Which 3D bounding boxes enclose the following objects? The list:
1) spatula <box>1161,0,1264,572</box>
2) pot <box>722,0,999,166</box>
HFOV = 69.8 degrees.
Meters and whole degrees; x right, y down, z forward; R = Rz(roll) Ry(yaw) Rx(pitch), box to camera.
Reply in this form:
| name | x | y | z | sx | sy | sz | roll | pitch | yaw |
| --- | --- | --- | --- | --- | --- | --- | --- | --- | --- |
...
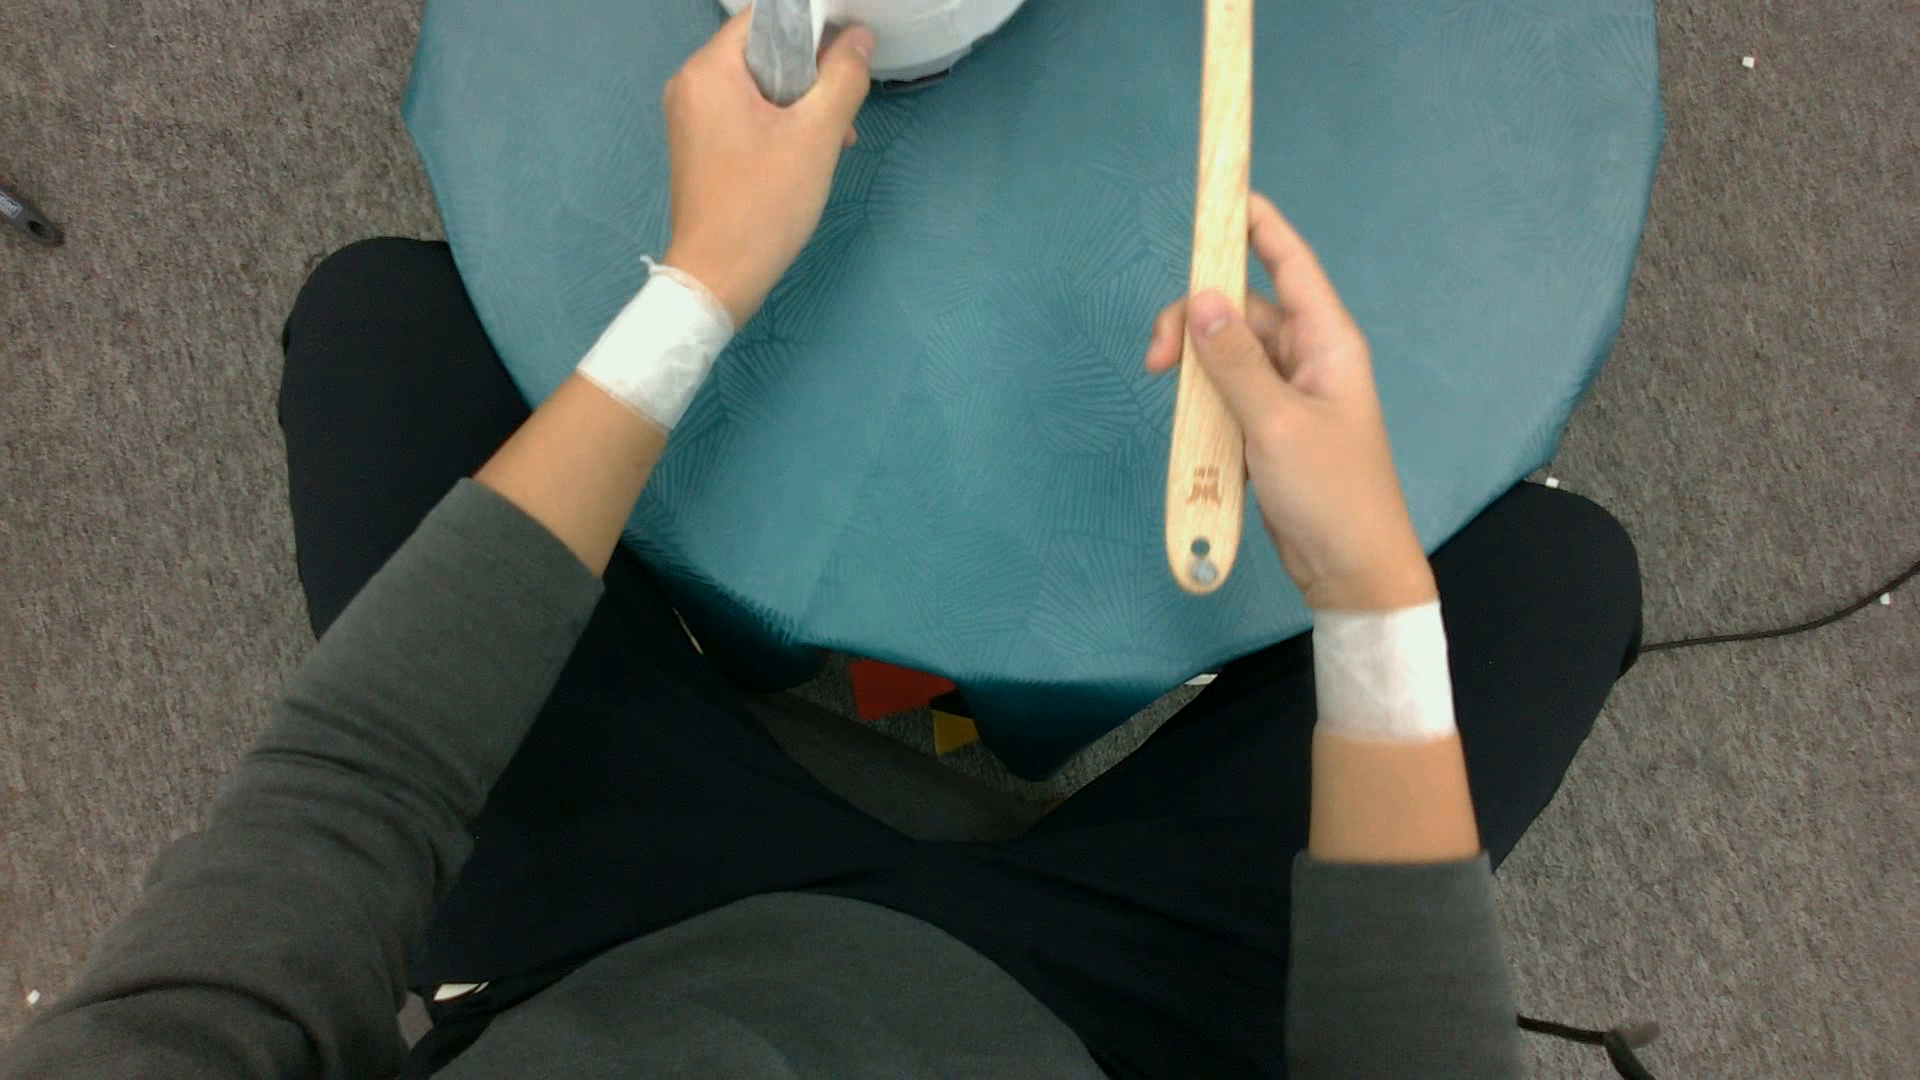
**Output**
| name | x | y | z | sx | sy | sz | roll | pitch | yaw |
| --- | --- | --- | --- | --- | --- | --- | --- | --- | --- |
| spatula | 0.112 | -0.182 | 0.542 | 0.096 | 0.018 | 0.390 | 4 | 91 | 10 |
| pot | -0.052 | -0.285 | 0.592 | 0.179 | 0.136 | 0.234 | 15 | 85 | 0 |
